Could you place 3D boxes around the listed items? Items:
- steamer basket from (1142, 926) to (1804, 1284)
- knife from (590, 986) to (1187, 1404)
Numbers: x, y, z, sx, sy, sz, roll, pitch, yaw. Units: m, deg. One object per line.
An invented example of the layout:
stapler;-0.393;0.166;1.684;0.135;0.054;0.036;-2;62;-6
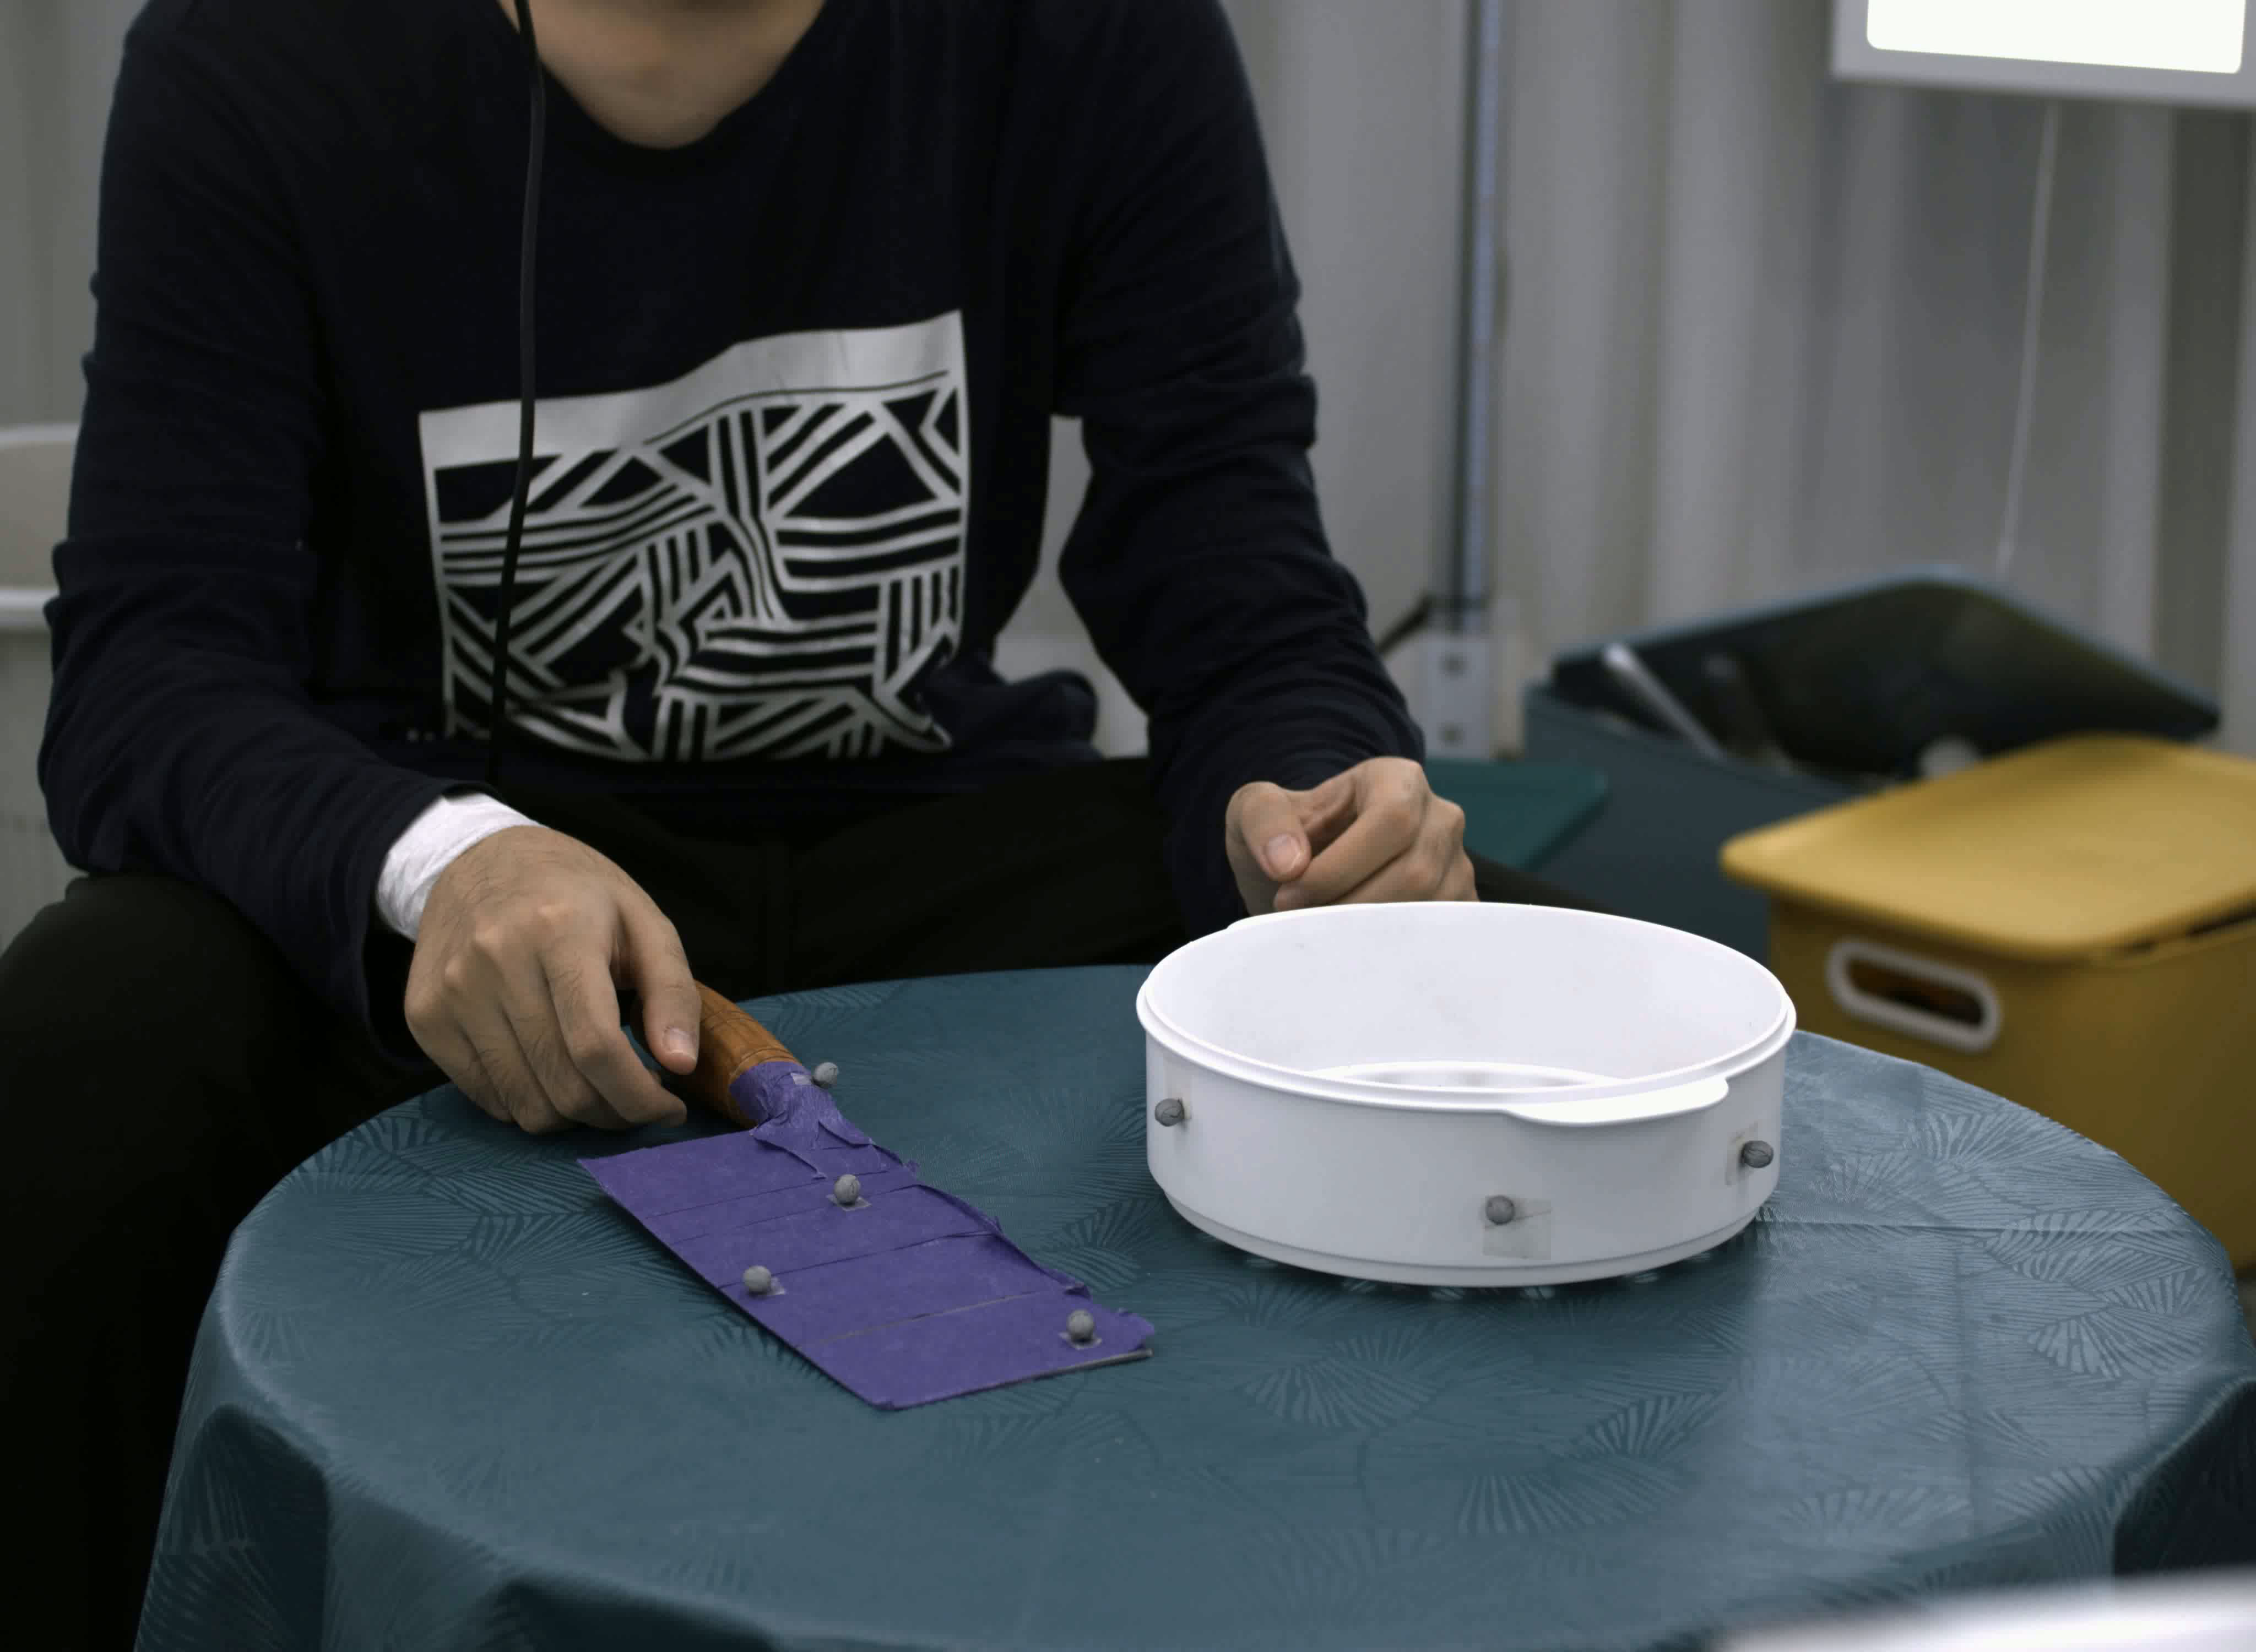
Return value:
steamer basket;0.105;0.084;1.608;0.202;0.070;0.228;-5;14;-24
knife;-0.103;0.107;1.589;0.104;0.032;0.311;-8;18;-29
